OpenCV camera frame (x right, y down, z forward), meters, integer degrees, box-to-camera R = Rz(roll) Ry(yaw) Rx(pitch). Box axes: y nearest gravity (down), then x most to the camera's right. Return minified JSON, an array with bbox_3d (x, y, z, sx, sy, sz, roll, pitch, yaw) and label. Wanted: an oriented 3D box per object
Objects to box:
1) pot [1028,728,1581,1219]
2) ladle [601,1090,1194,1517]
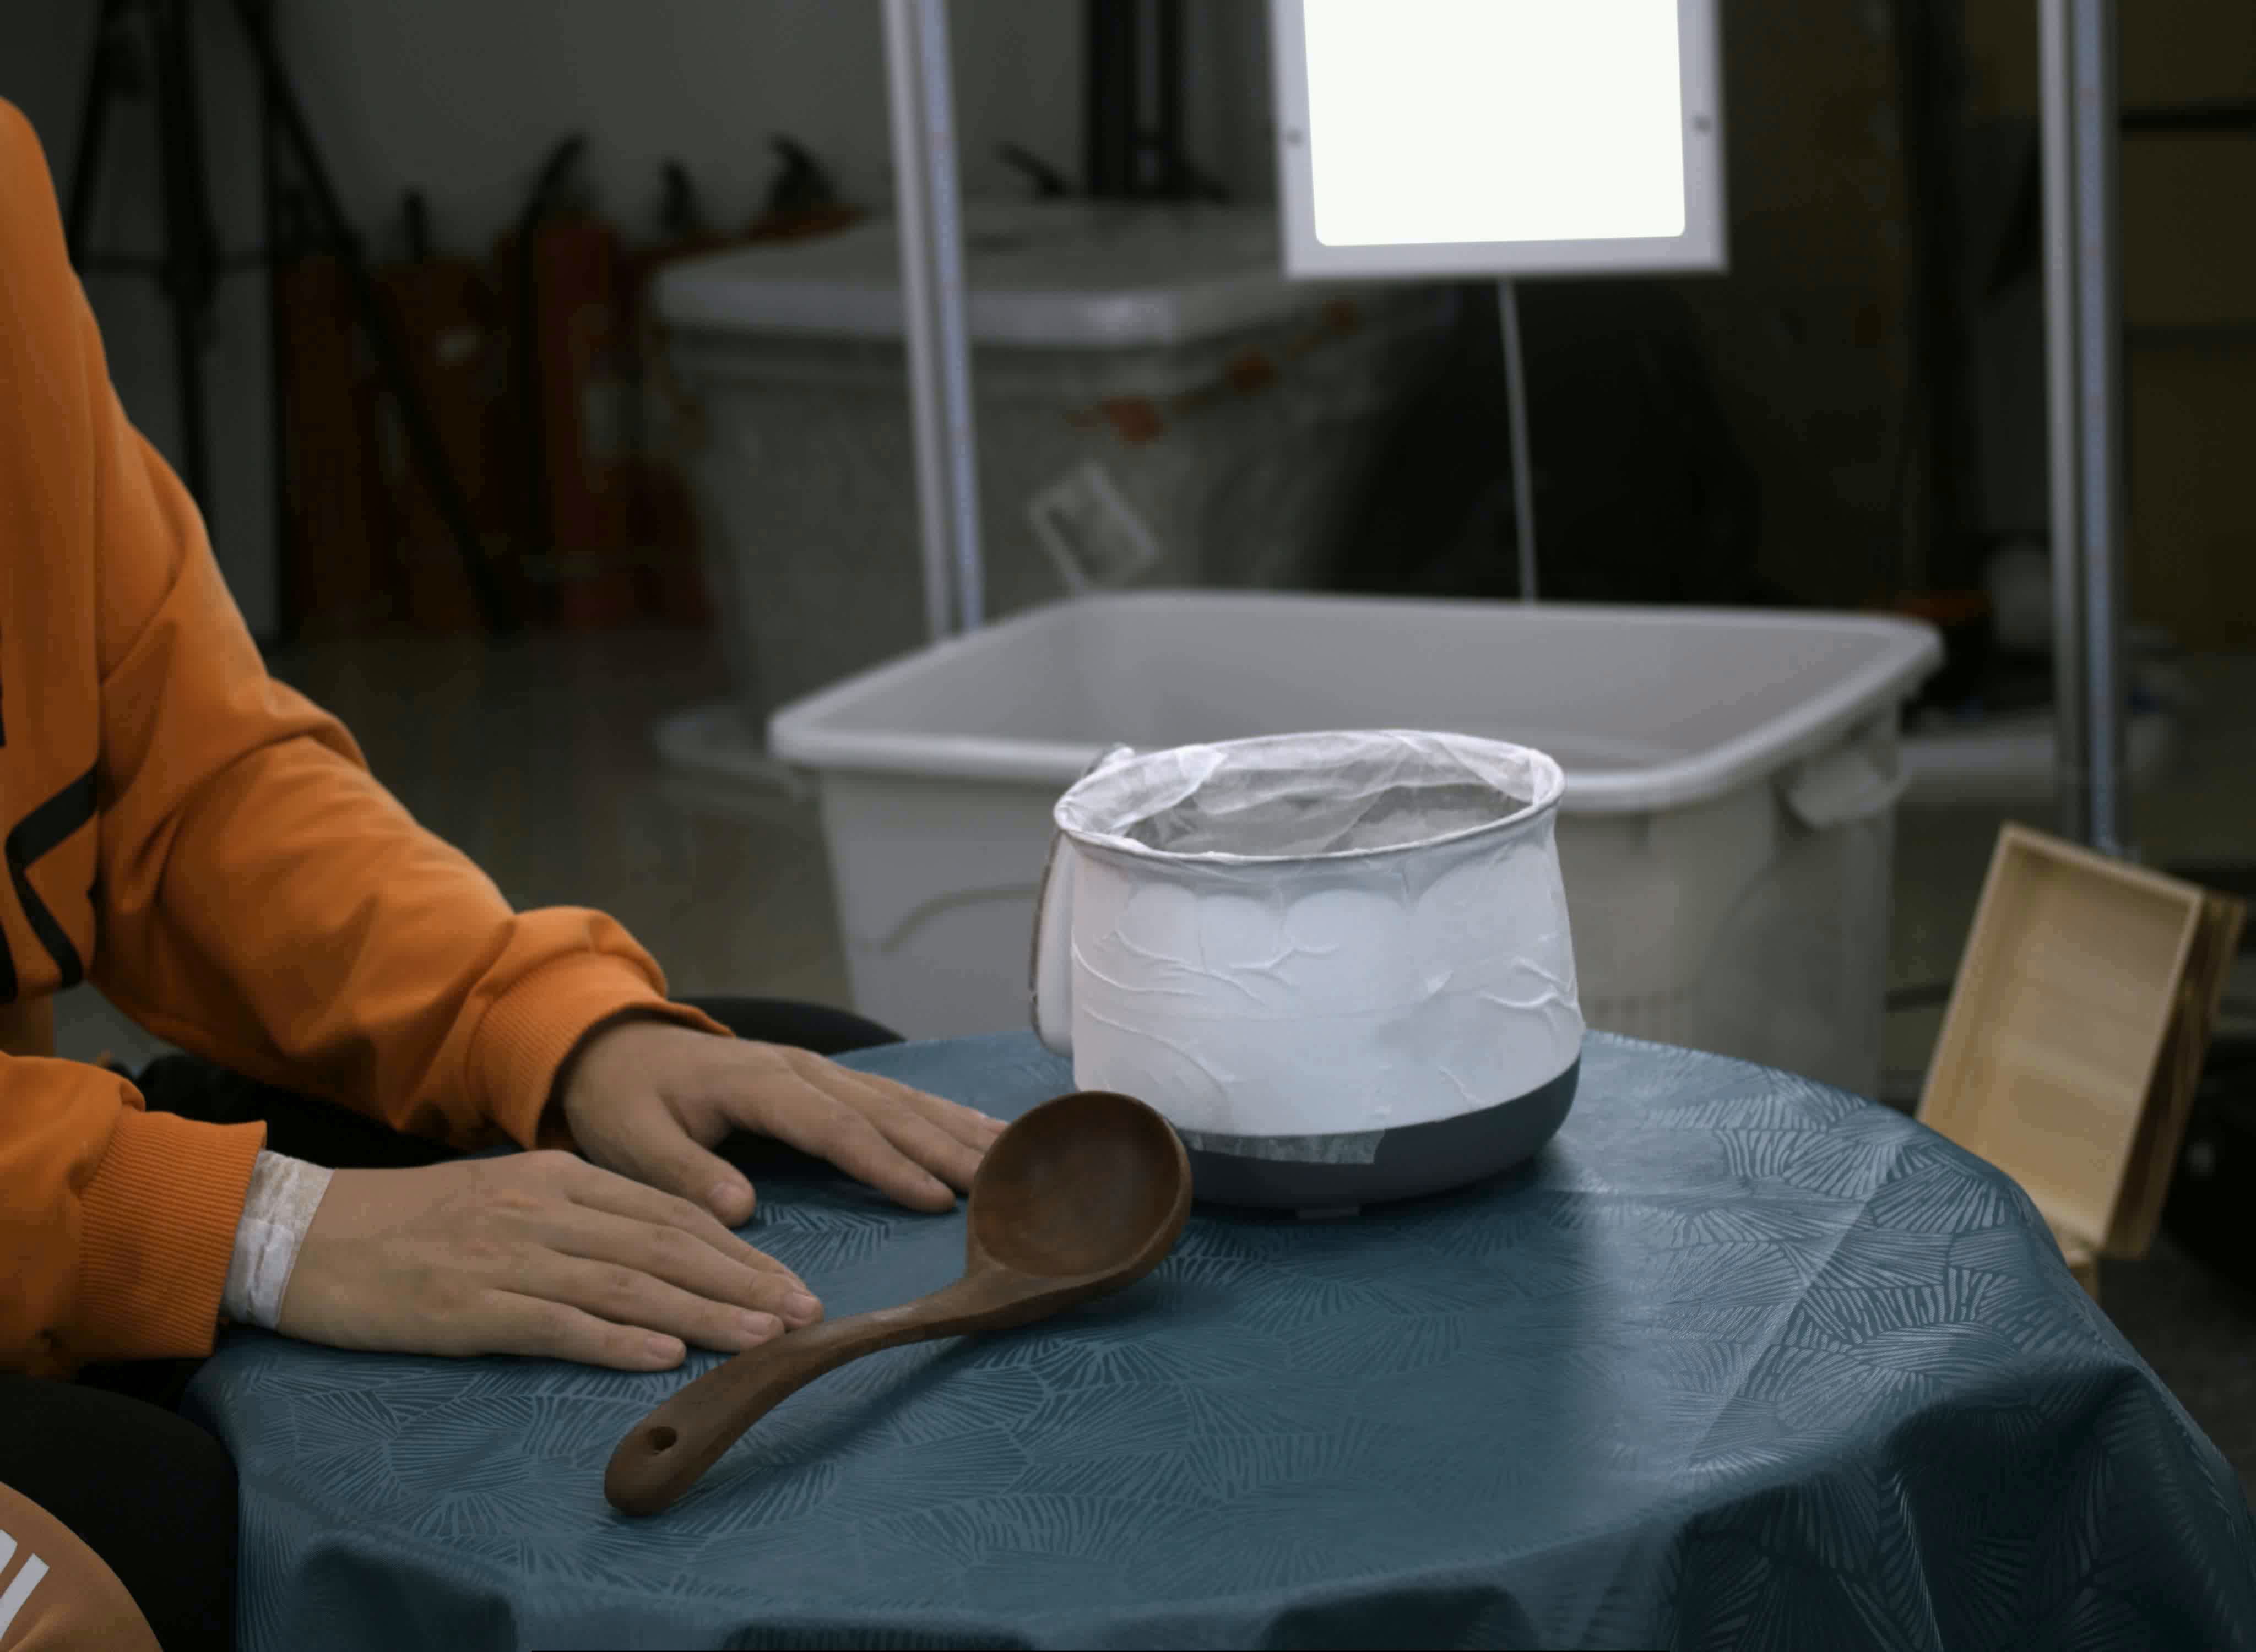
[{"bbox_3d":[0.048,0.046,1.920,0.174,0.137,0.239,-16,18,-40],"label":"pot"},{"bbox_3d":[-0.073,0.145,1.716,0.078,0.065,0.254,15,23,36],"label":"ladle"}]
